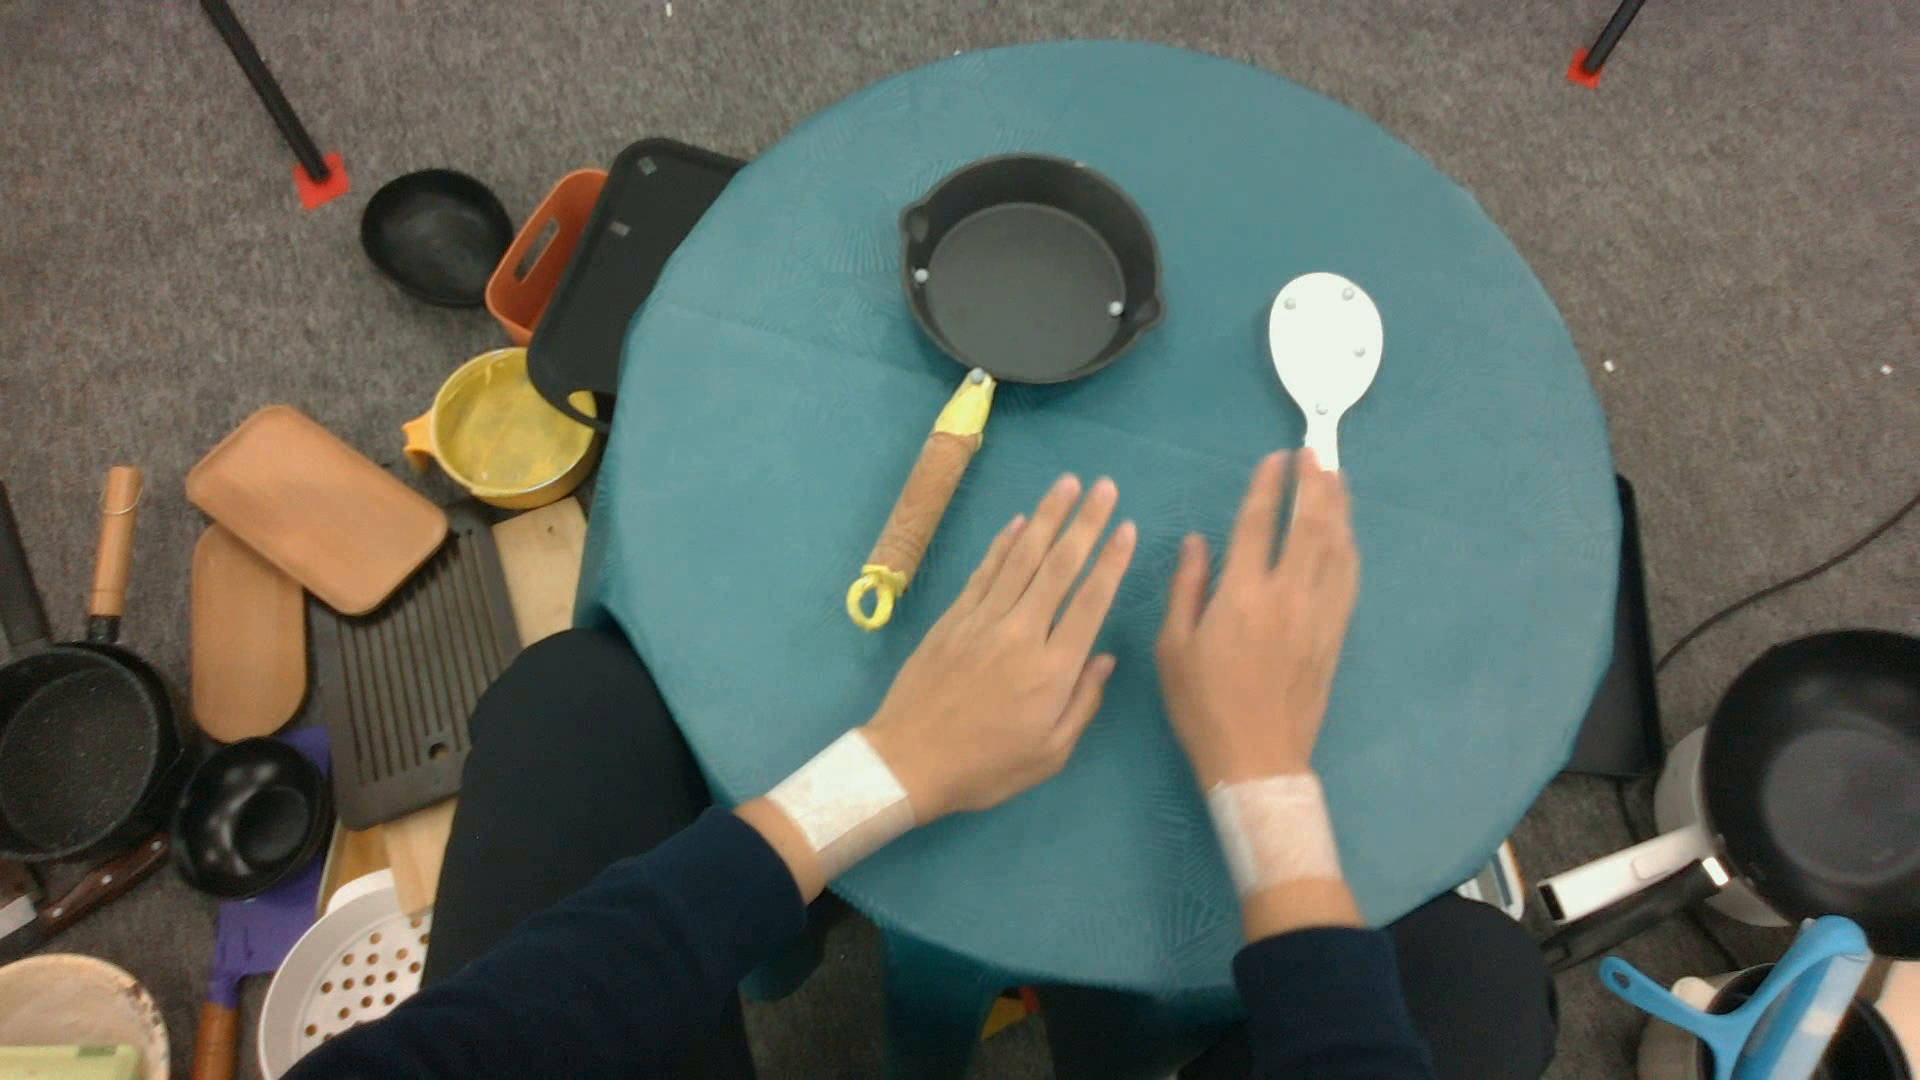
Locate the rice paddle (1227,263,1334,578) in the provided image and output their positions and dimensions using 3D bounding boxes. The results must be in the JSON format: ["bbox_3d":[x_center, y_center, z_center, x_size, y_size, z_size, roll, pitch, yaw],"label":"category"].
[{"bbox_3d":[0.192,-0.078,0.818,0.069,0.029,0.206,8,68,-8],"label":"rice paddle"}]

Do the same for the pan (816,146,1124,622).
[{"bbox_3d":[-0.014,-0.094,0.791,0.169,0.049,0.325,22,66,3],"label":"pan"}]
